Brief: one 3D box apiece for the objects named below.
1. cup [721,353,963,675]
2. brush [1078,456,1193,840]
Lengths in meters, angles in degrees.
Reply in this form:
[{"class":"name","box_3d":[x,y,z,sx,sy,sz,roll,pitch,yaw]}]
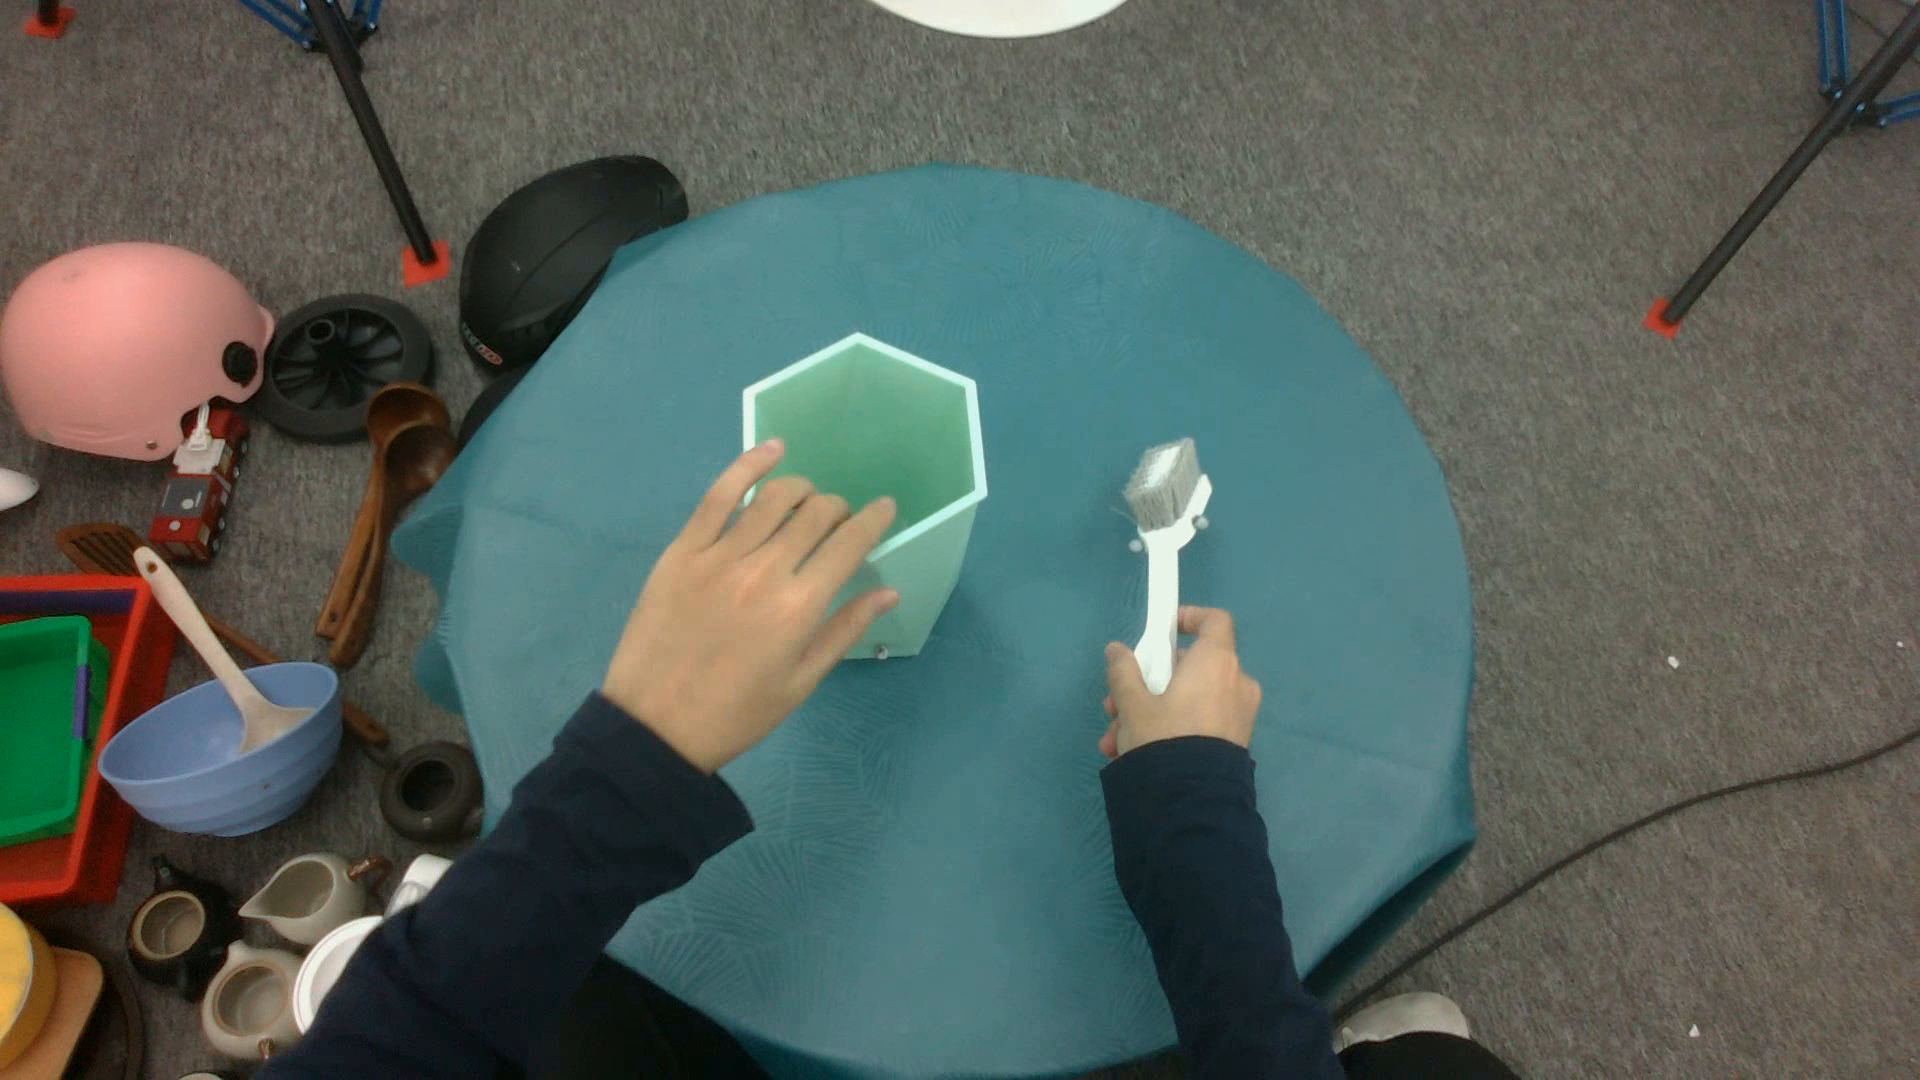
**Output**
[{"class":"cup","box_3d":[-0.063,-0.001,0.743,0.131,0.162,0.115,-33,69,-19]},{"class":"brush","box_3d":[0.090,0.046,0.747,0.034,0.050,0.245,-6,45,27]}]
